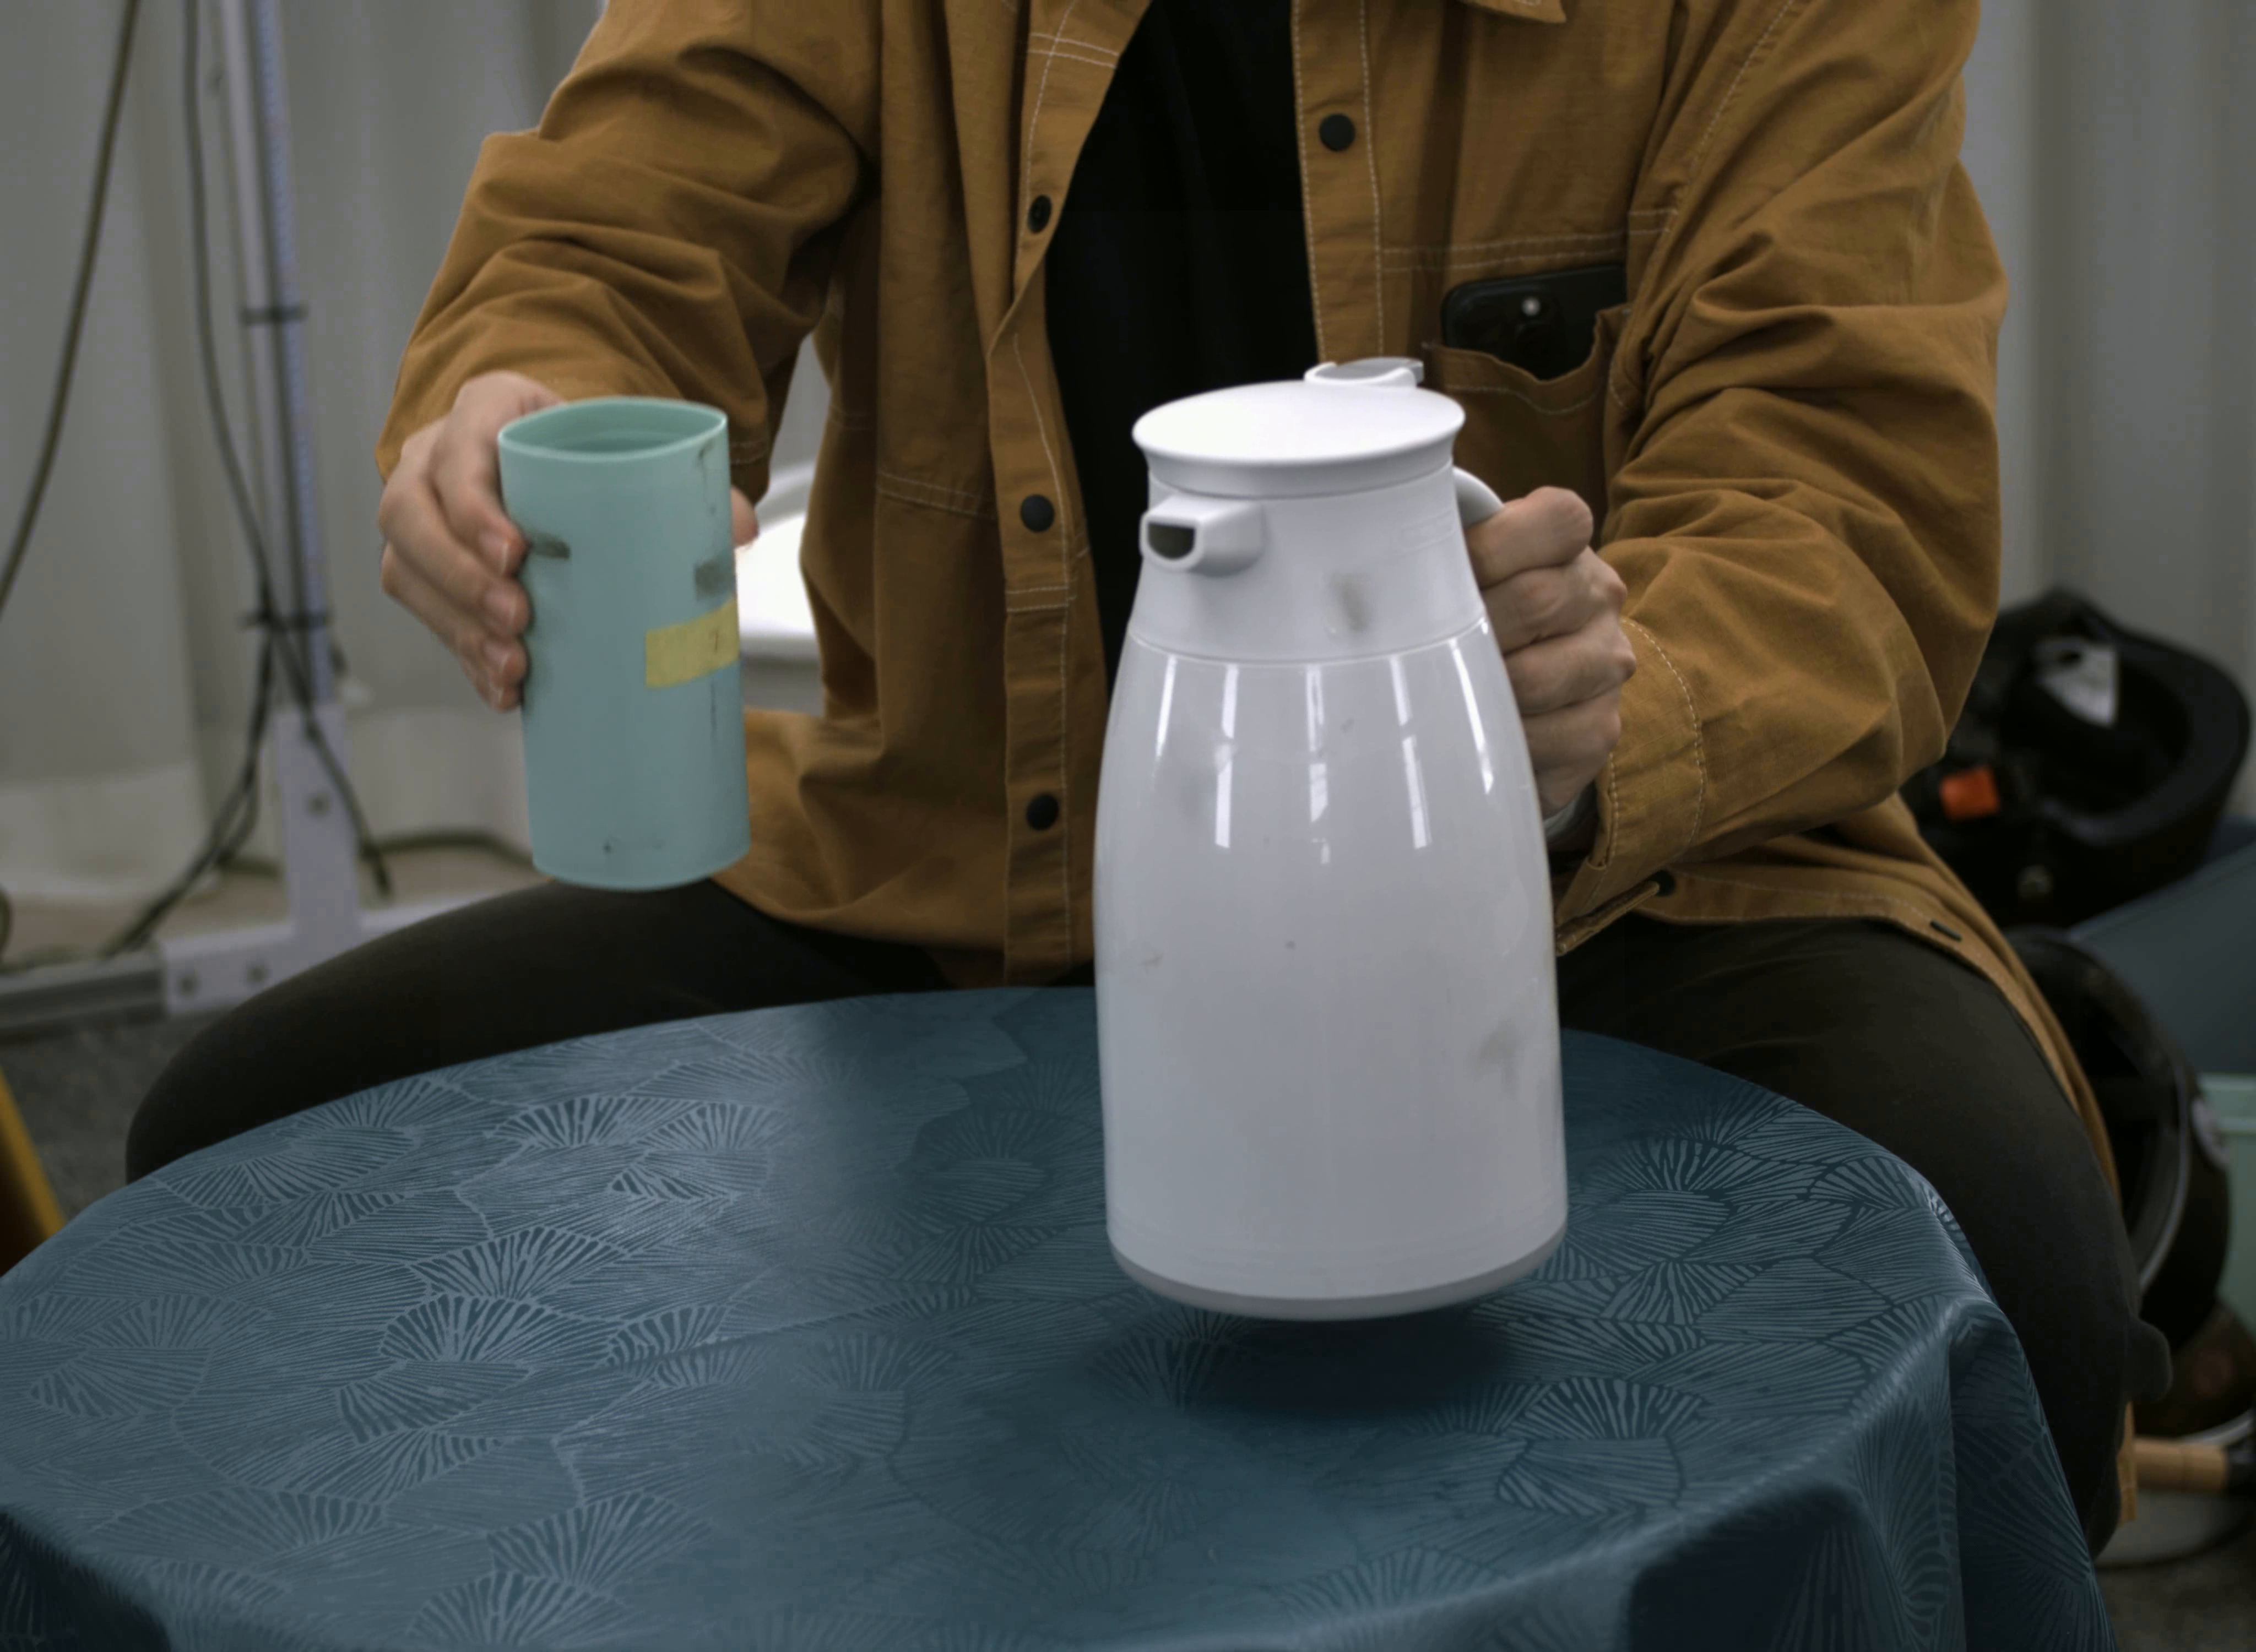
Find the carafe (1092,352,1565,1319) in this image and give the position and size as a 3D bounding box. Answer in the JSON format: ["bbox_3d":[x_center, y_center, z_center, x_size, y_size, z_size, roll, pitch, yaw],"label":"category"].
[{"bbox_3d":[0.063,-0.006,1.545,0.133,0.247,0.168,8,18,35],"label":"carafe"}]

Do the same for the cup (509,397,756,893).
[{"bbox_3d":[-0.144,-0.053,1.592,0.066,0.131,0.067,-1,17,0],"label":"cup"}]
